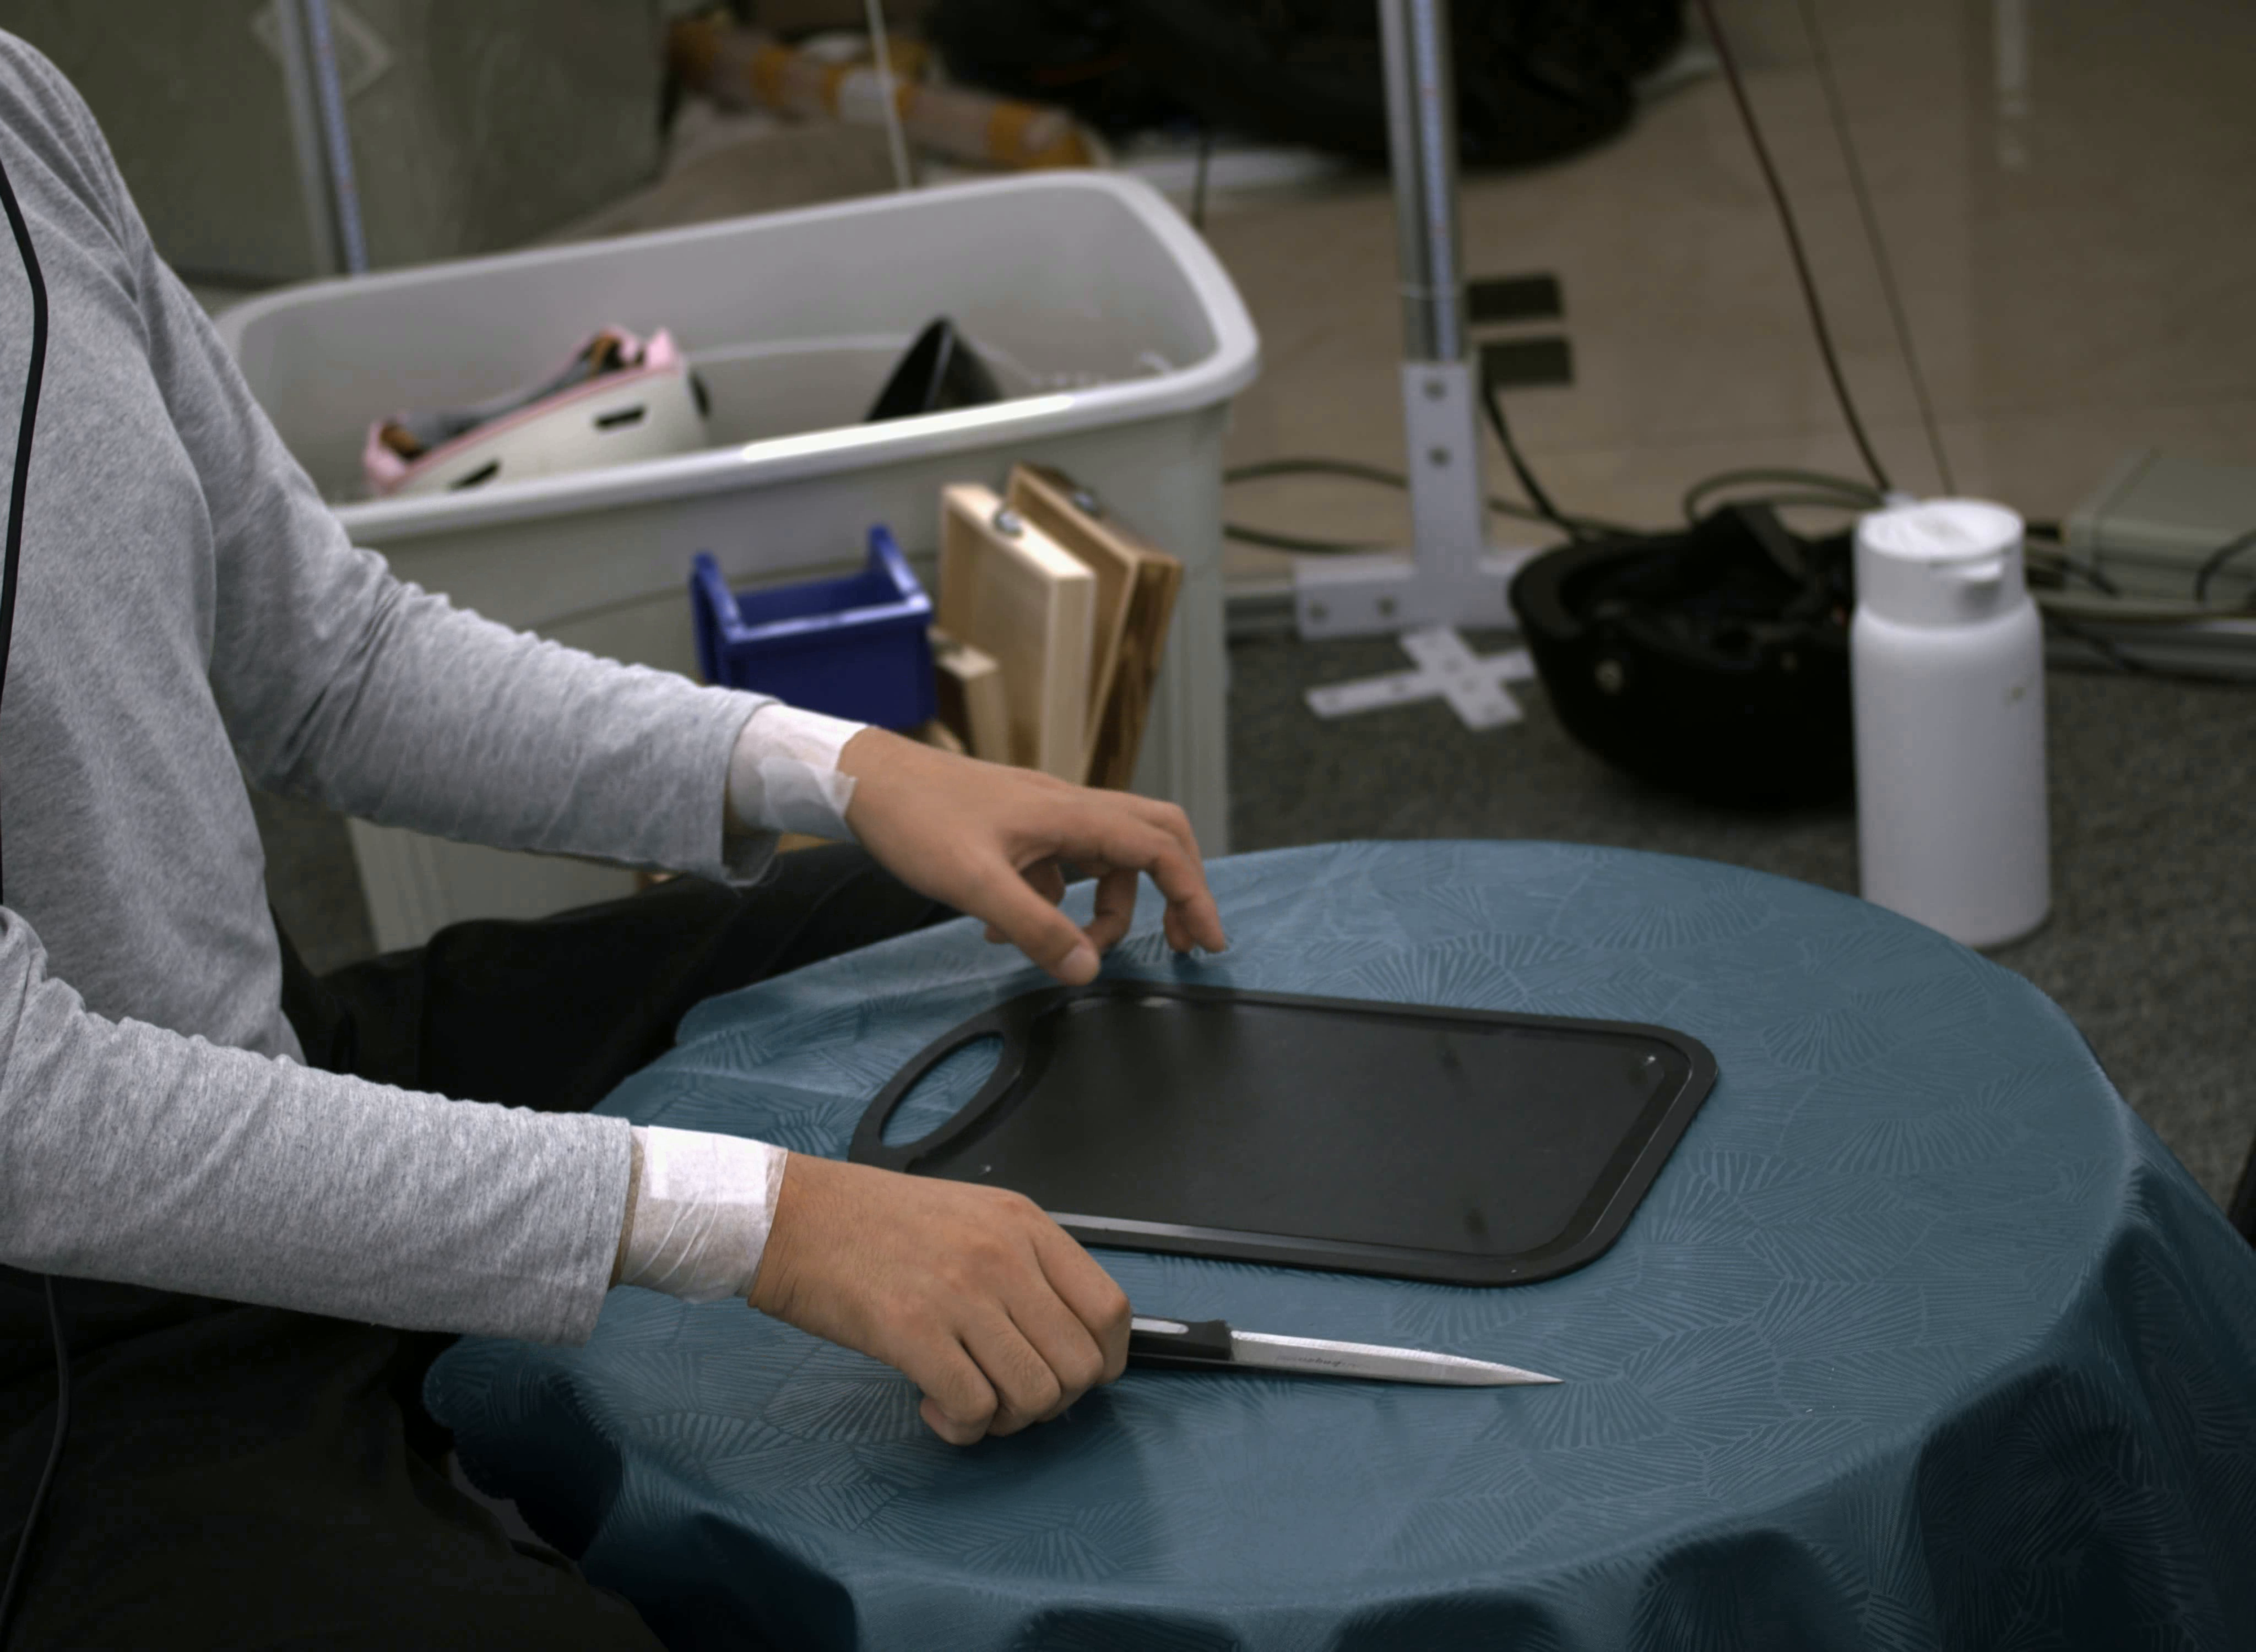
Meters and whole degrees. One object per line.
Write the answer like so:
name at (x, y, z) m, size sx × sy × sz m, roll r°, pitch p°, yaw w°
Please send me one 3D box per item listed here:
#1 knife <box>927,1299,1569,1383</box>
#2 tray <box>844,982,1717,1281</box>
knife at (0.040, 0.187, 2.025) m, size 0.237 × 0.016 × 0.024 m, roll 4°, pitch 28°, yaw 15°
tray at (0.052, 0.114, 2.187) m, size 0.324 × 0.010 × 0.208 m, roll 4°, pitch 27°, yaw 23°
